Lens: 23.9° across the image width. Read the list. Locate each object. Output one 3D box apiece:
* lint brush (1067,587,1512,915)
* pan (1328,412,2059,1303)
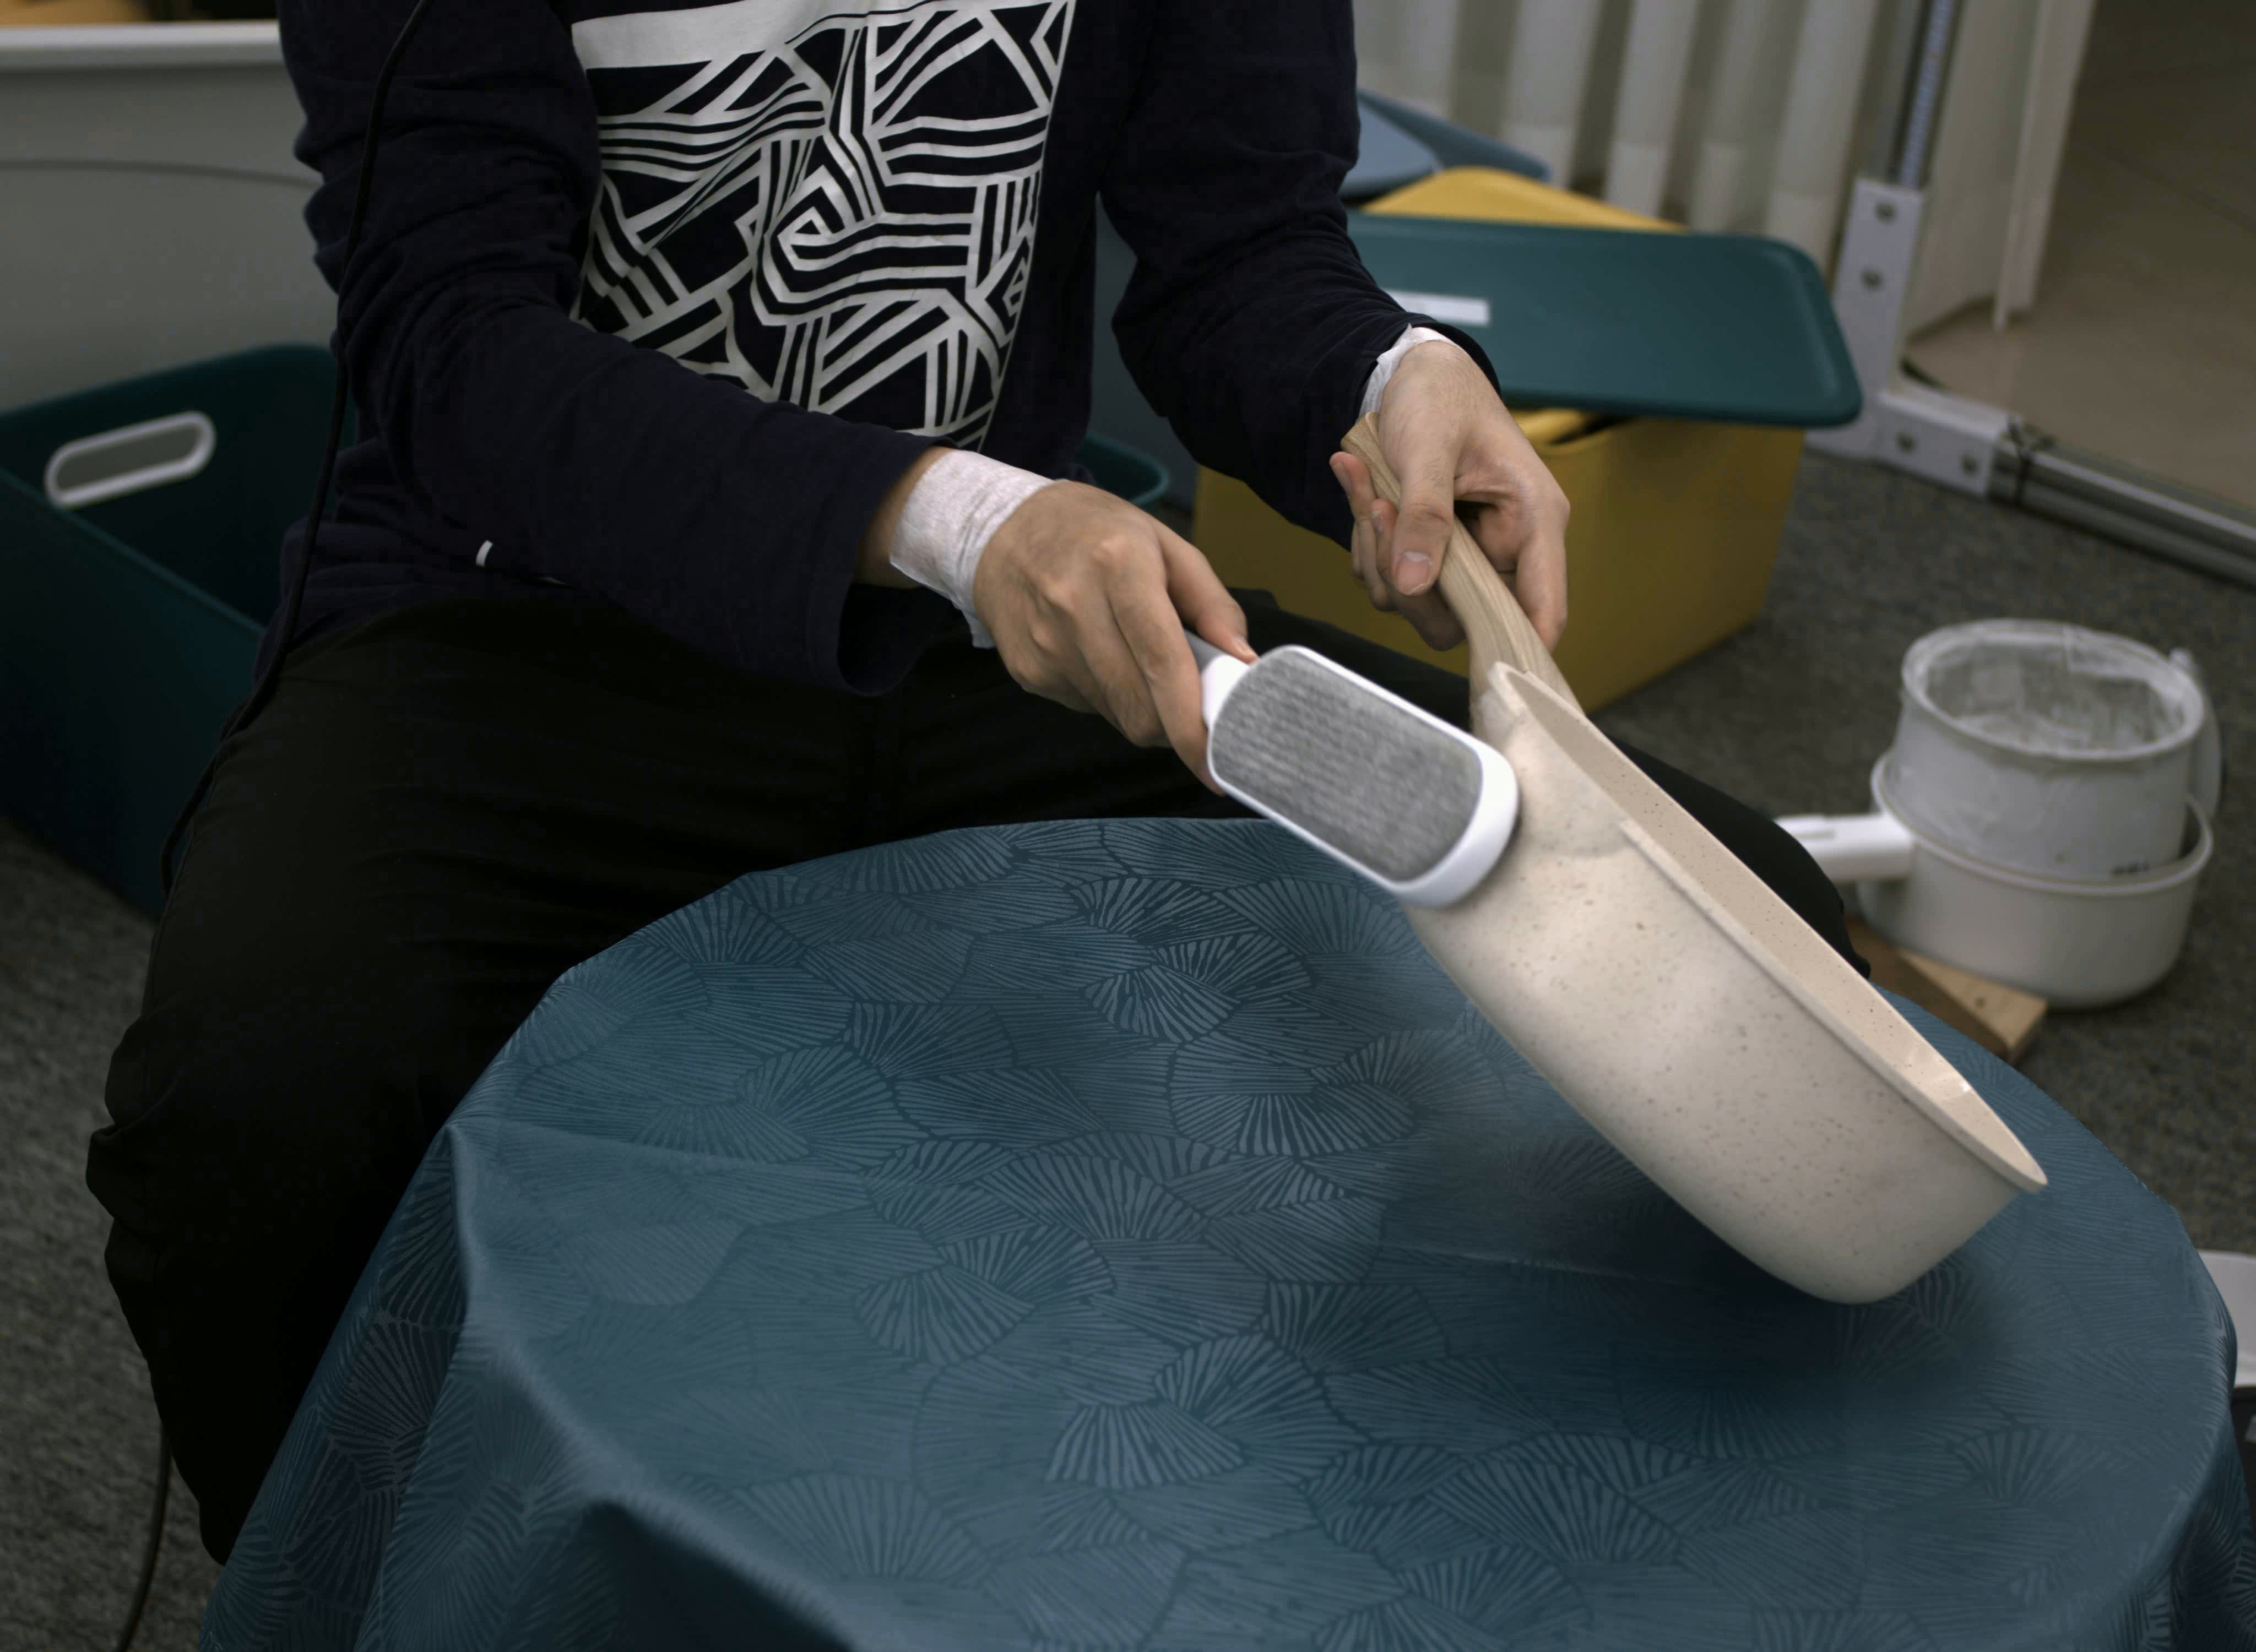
[{"bbox_3d":[0.048,-0.035,1.798,0.021,0.060,0.311,26,4,-29],"label":"lint brush"},{"bbox_3d":[0.153,0.005,1.839,0.261,0.102,0.439,31,15,-42],"label":"pan"}]
